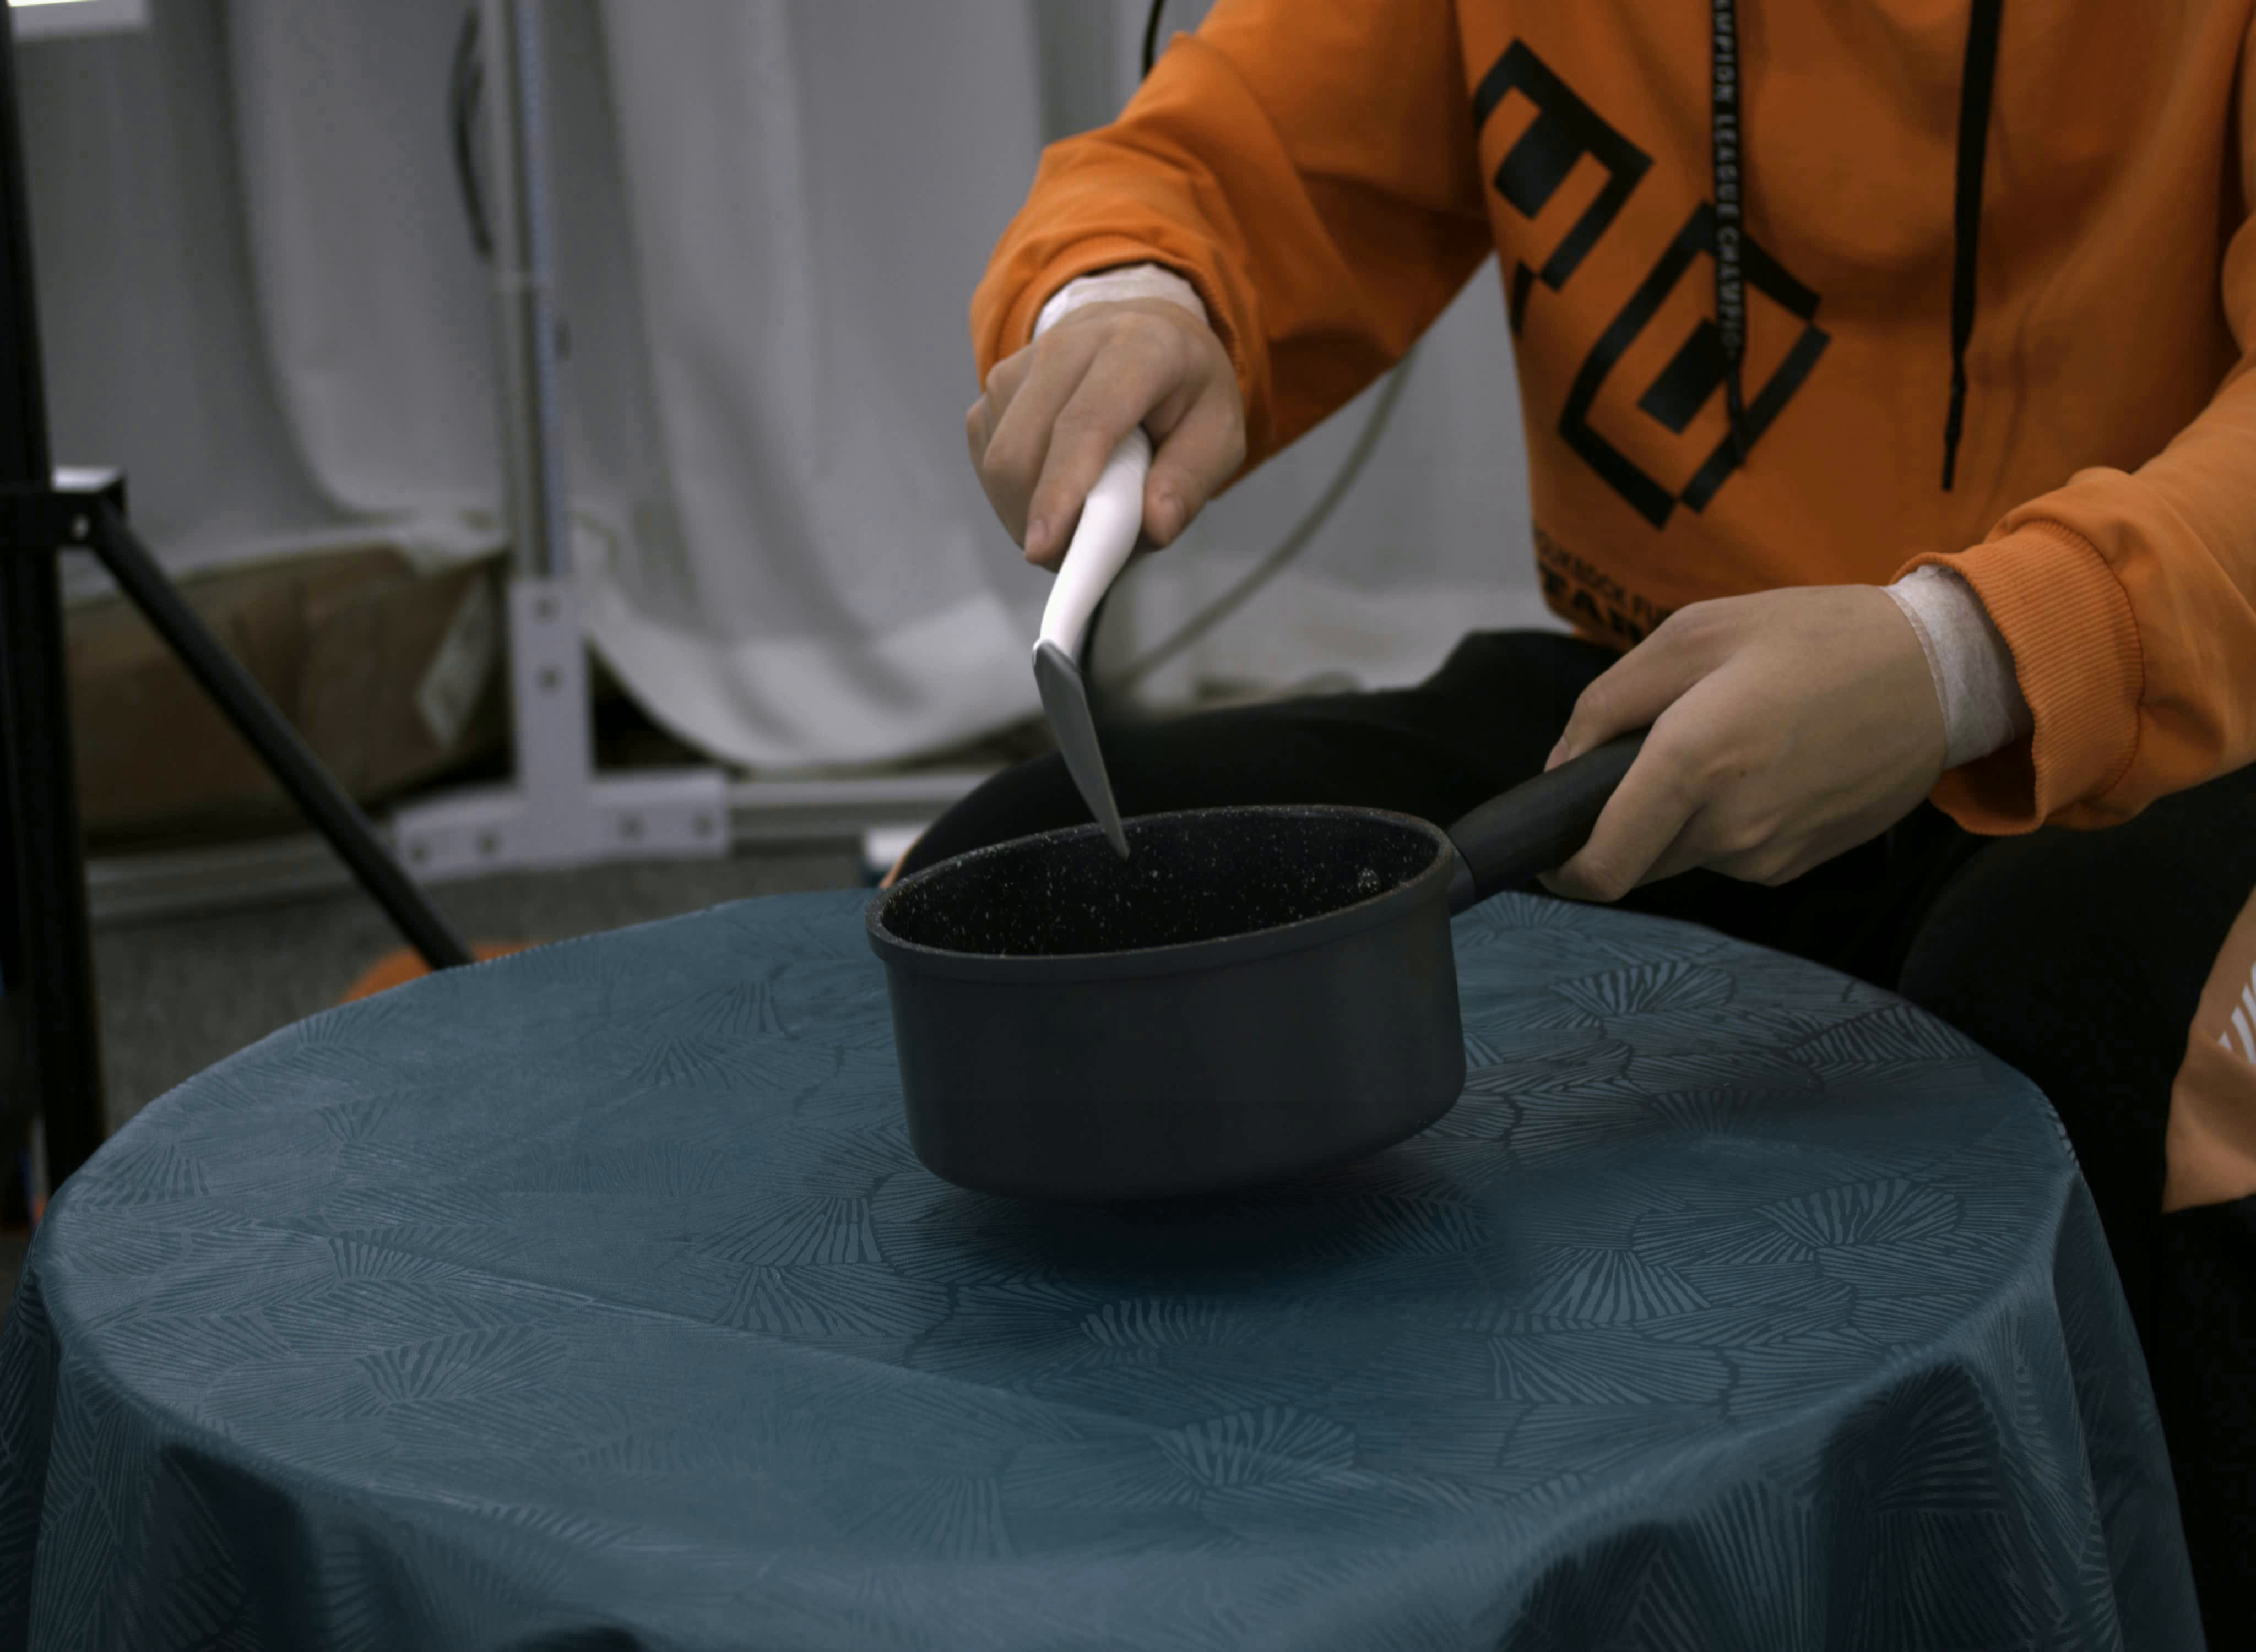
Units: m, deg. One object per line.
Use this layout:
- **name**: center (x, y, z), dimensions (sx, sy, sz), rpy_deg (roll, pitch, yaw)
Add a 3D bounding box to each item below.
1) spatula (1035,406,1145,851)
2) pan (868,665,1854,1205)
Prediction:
- **spatula**: center (-0.011, -0.066, 1.602), dimensions (0.032, 0.058, 0.289), rpy_deg (-11, 22, 5)
- **pan**: center (0.081, 0.031, 1.567), dimensions (0.322, 0.086, 0.175), rpy_deg (-16, 16, -27)
